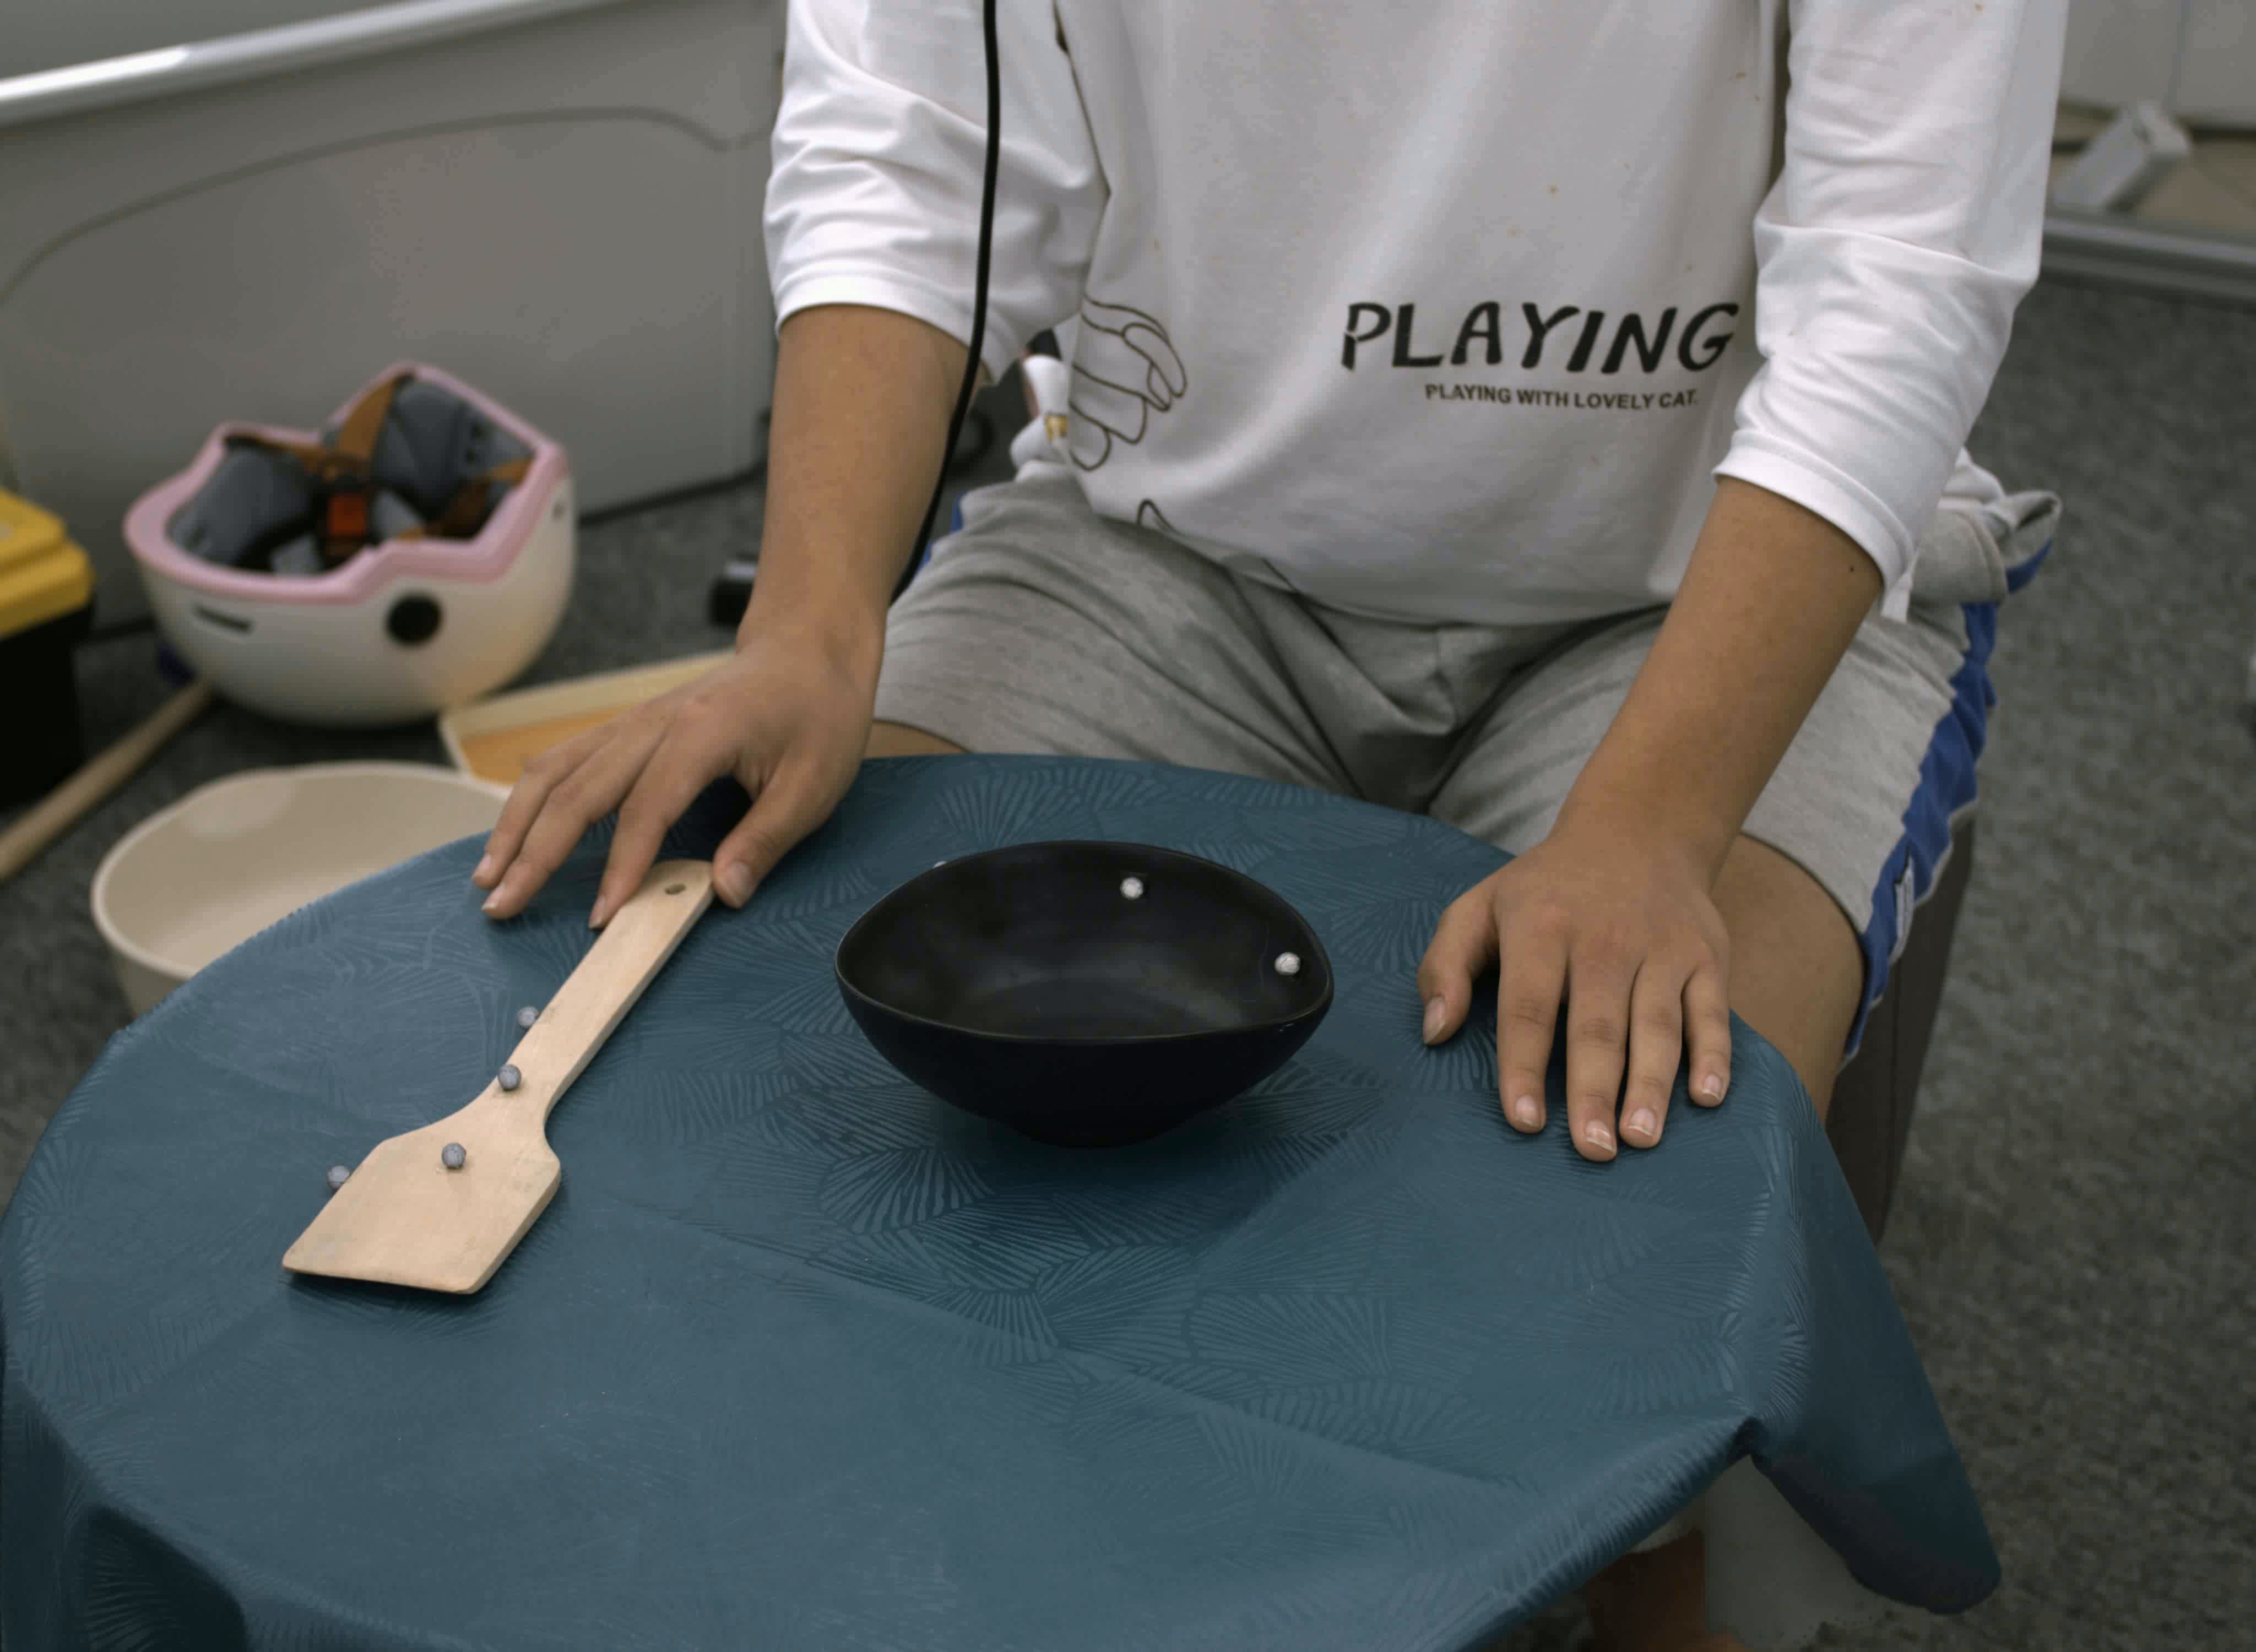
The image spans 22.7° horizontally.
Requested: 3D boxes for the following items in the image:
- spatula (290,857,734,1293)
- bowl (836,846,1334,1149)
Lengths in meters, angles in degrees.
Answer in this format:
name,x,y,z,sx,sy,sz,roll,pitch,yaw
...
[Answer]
name,x,y,z,sx,sy,sz,roll,pitch,yaw
spatula,-0.200,0.082,1.947,0.072,0.010,0.298,5,29,17
bowl,-0.014,0.065,1.907,0.169,0.066,0.139,3,27,6
